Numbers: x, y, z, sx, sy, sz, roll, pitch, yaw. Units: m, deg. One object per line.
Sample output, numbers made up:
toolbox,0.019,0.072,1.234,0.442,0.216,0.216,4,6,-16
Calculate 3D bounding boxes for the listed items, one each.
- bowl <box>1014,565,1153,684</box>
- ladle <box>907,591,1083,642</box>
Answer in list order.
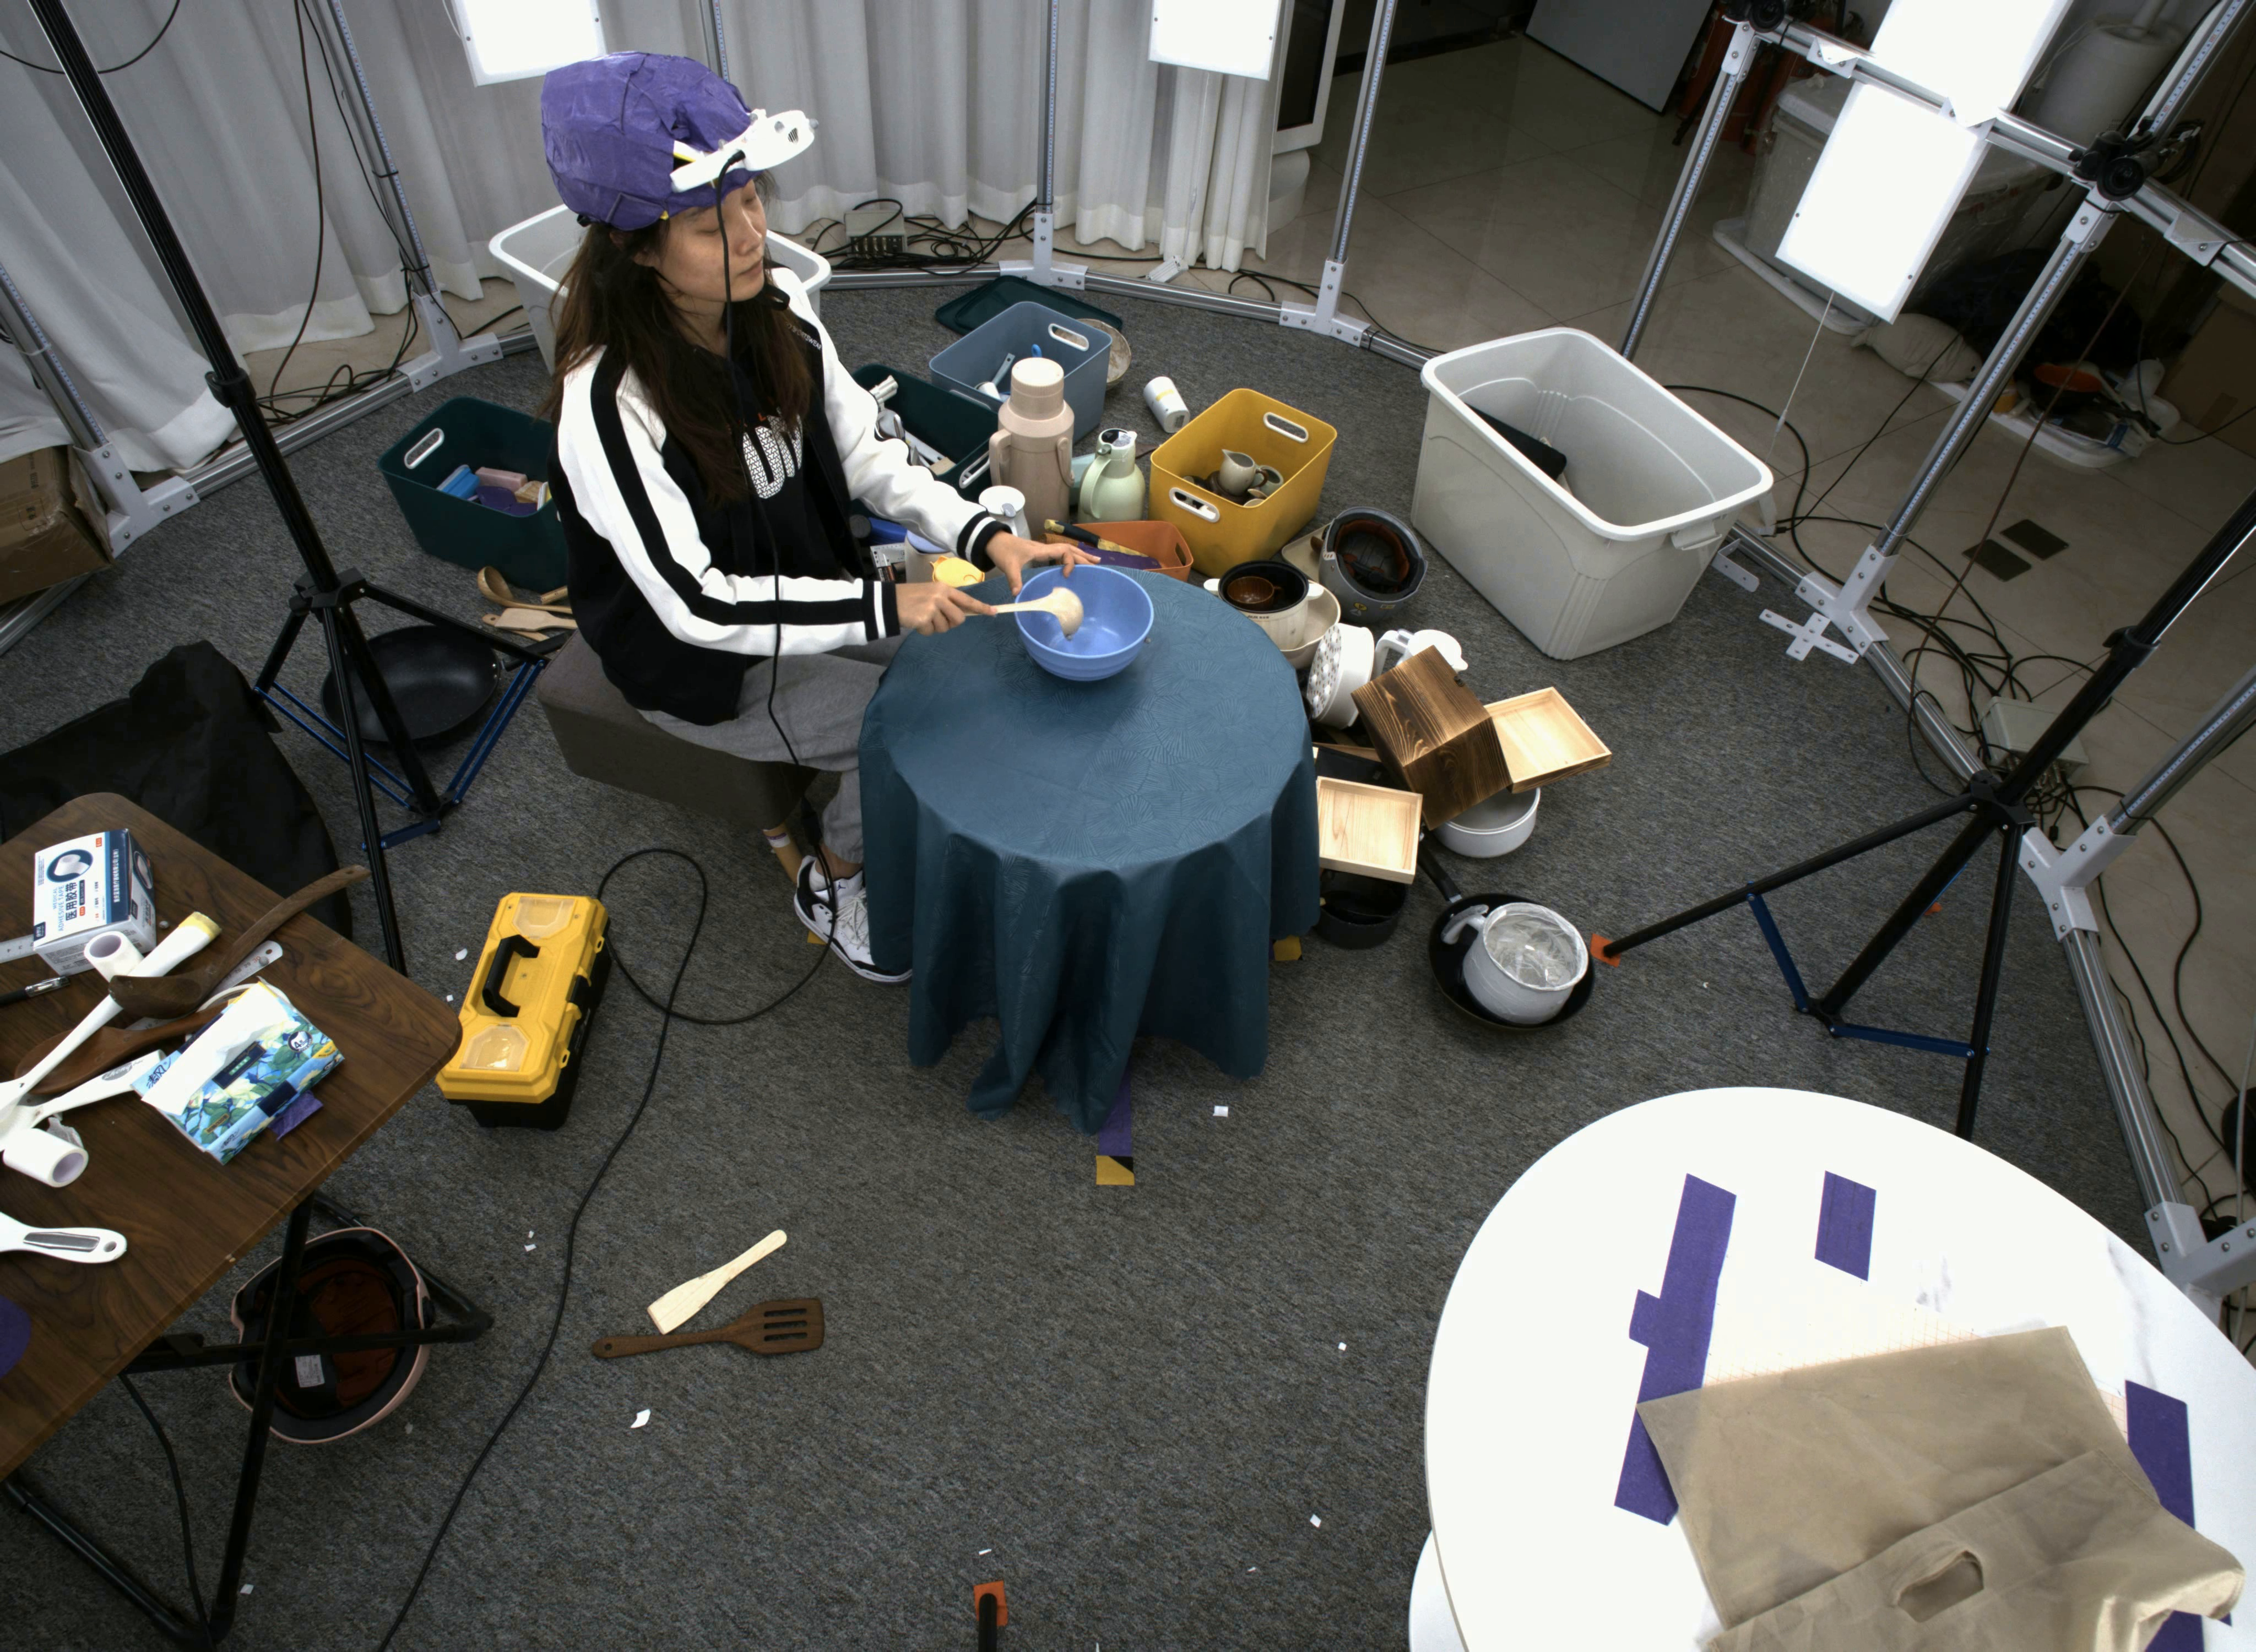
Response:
bowl,-0.064,-0.274,1.846,0.196,0.093,0.201,1,50,-2
ladle,-0.187,-0.289,1.788,0.254,0.072,0.073,-5,70,-22
